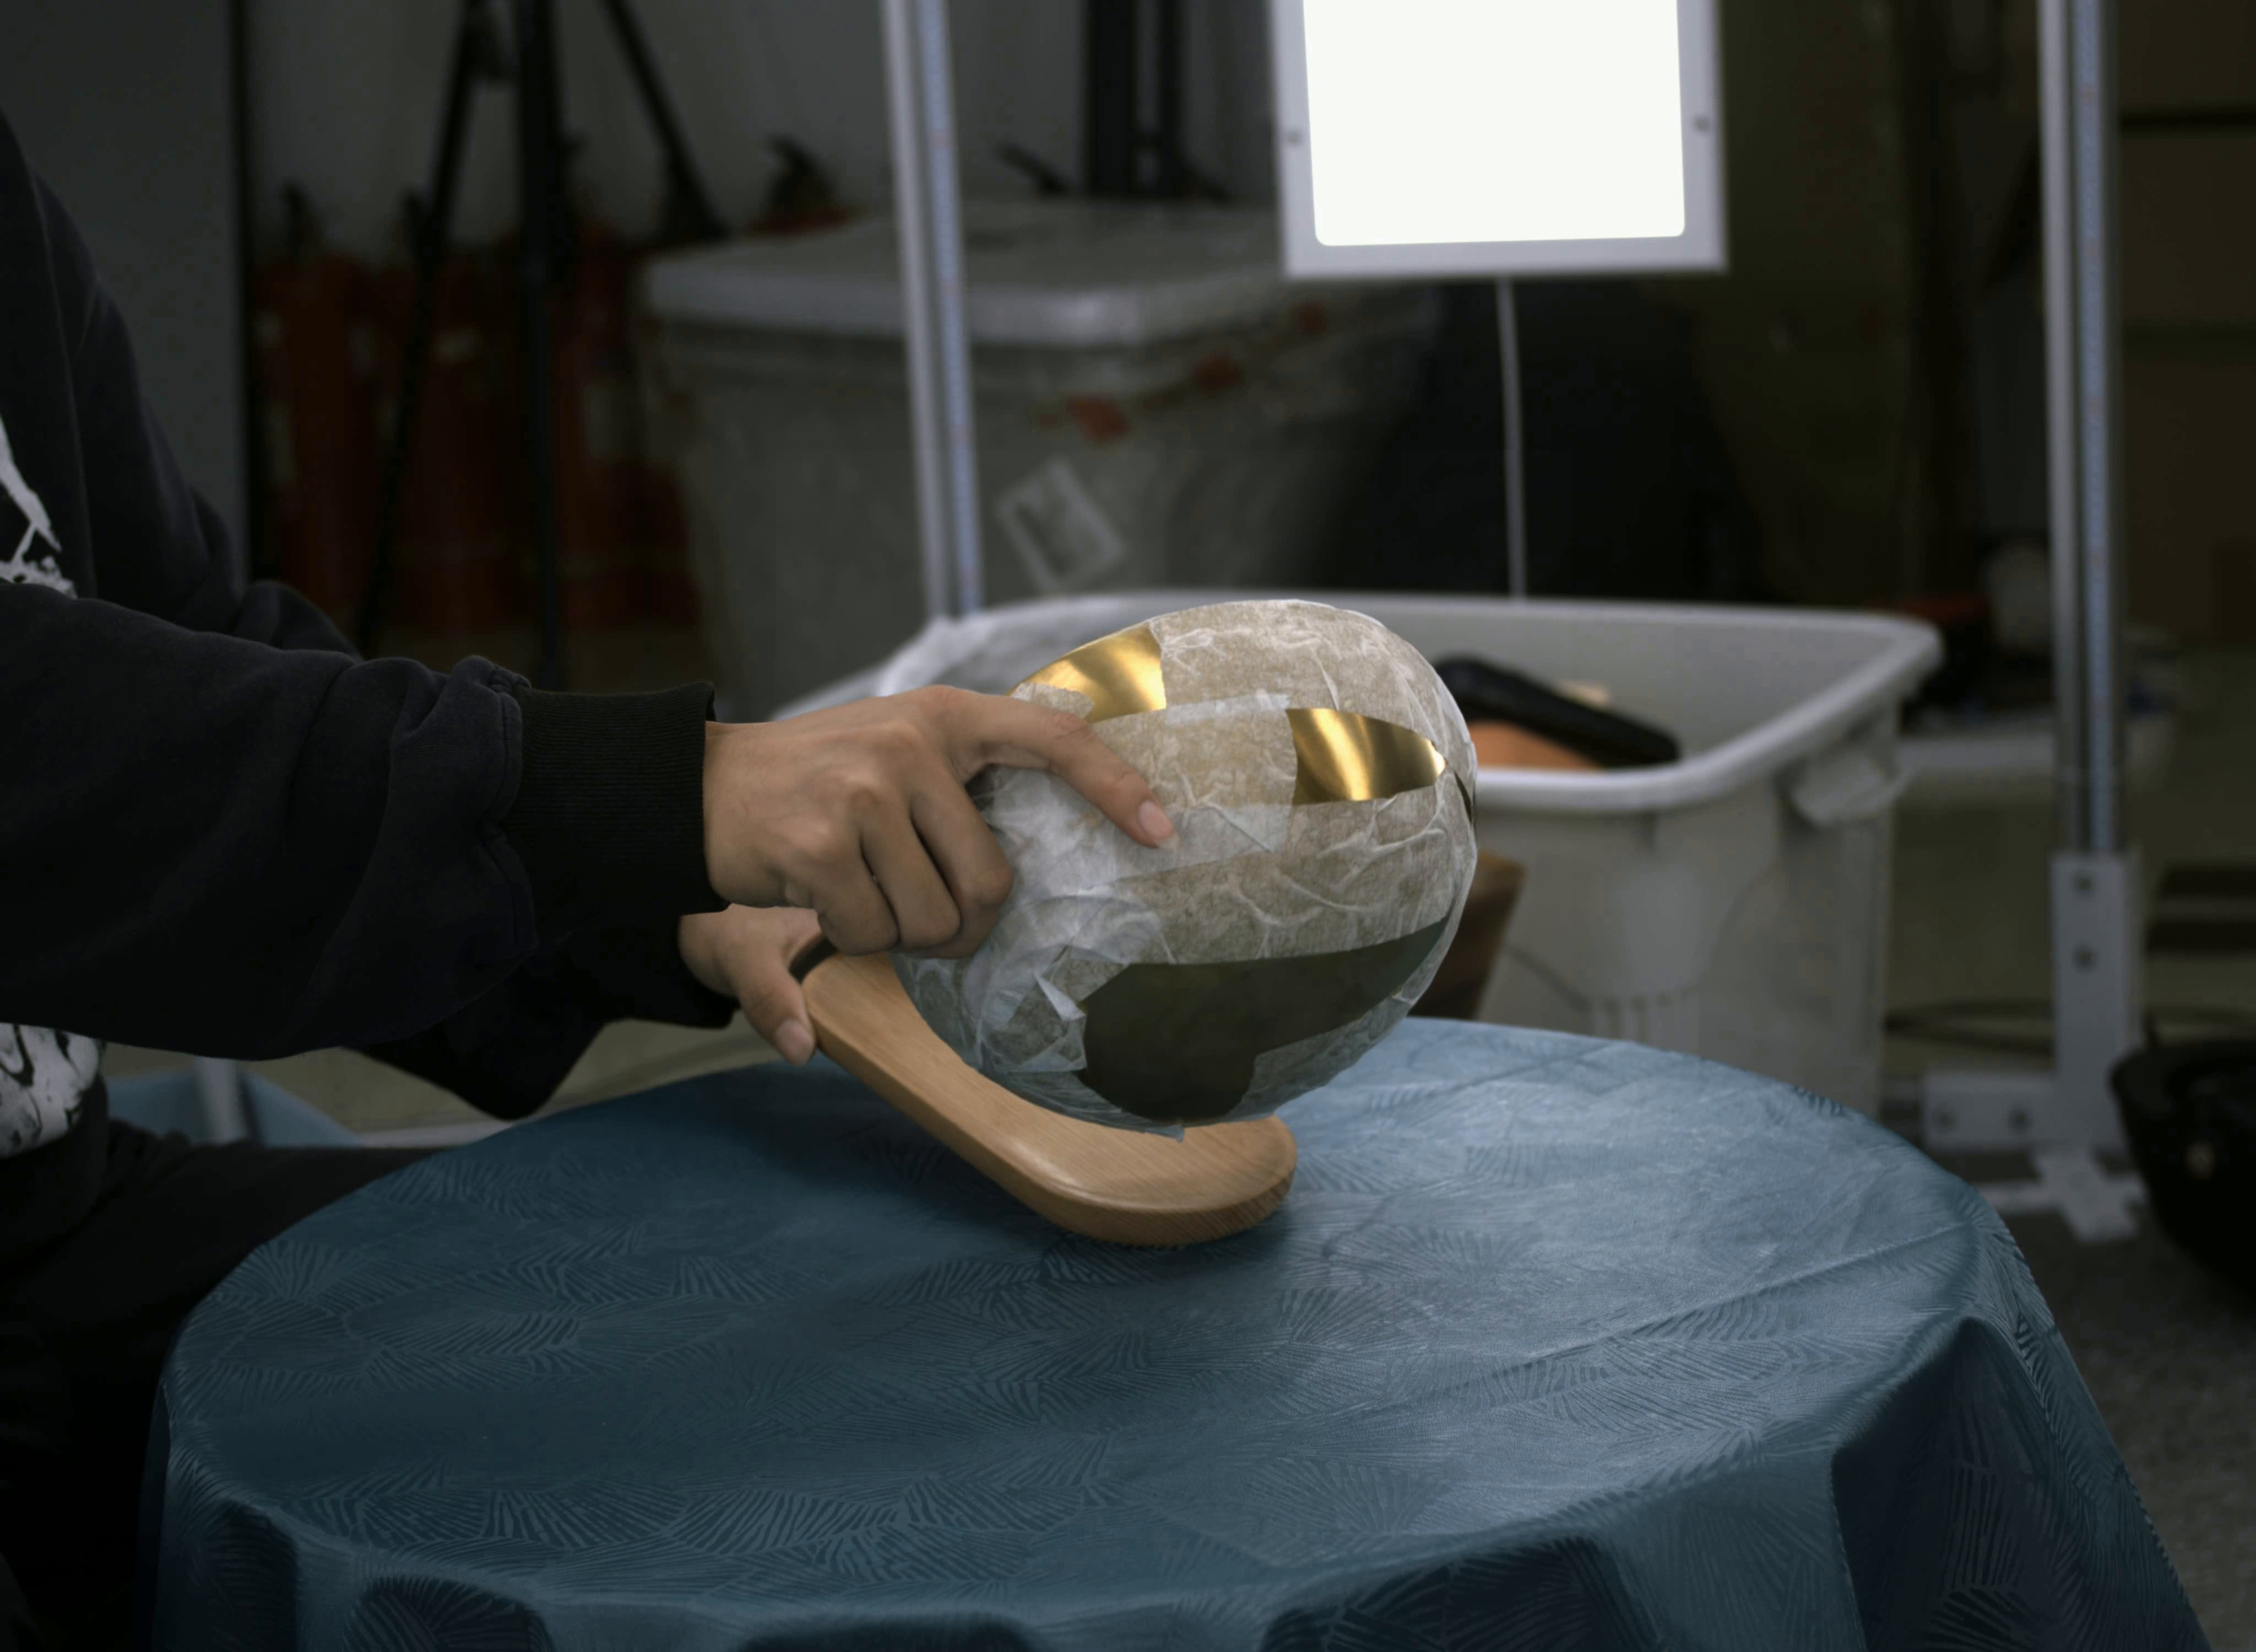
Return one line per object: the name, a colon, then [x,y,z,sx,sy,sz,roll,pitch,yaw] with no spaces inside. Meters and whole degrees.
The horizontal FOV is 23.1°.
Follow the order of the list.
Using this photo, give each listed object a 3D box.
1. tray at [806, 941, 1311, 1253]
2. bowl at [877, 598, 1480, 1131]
tray: [-0.027,0.092,1.921,0.099,0.020,0.235,-17,32,-31]
bowl: [0.026,0.033,1.758,0.211,0.217,0.095,-8,50,-18]
